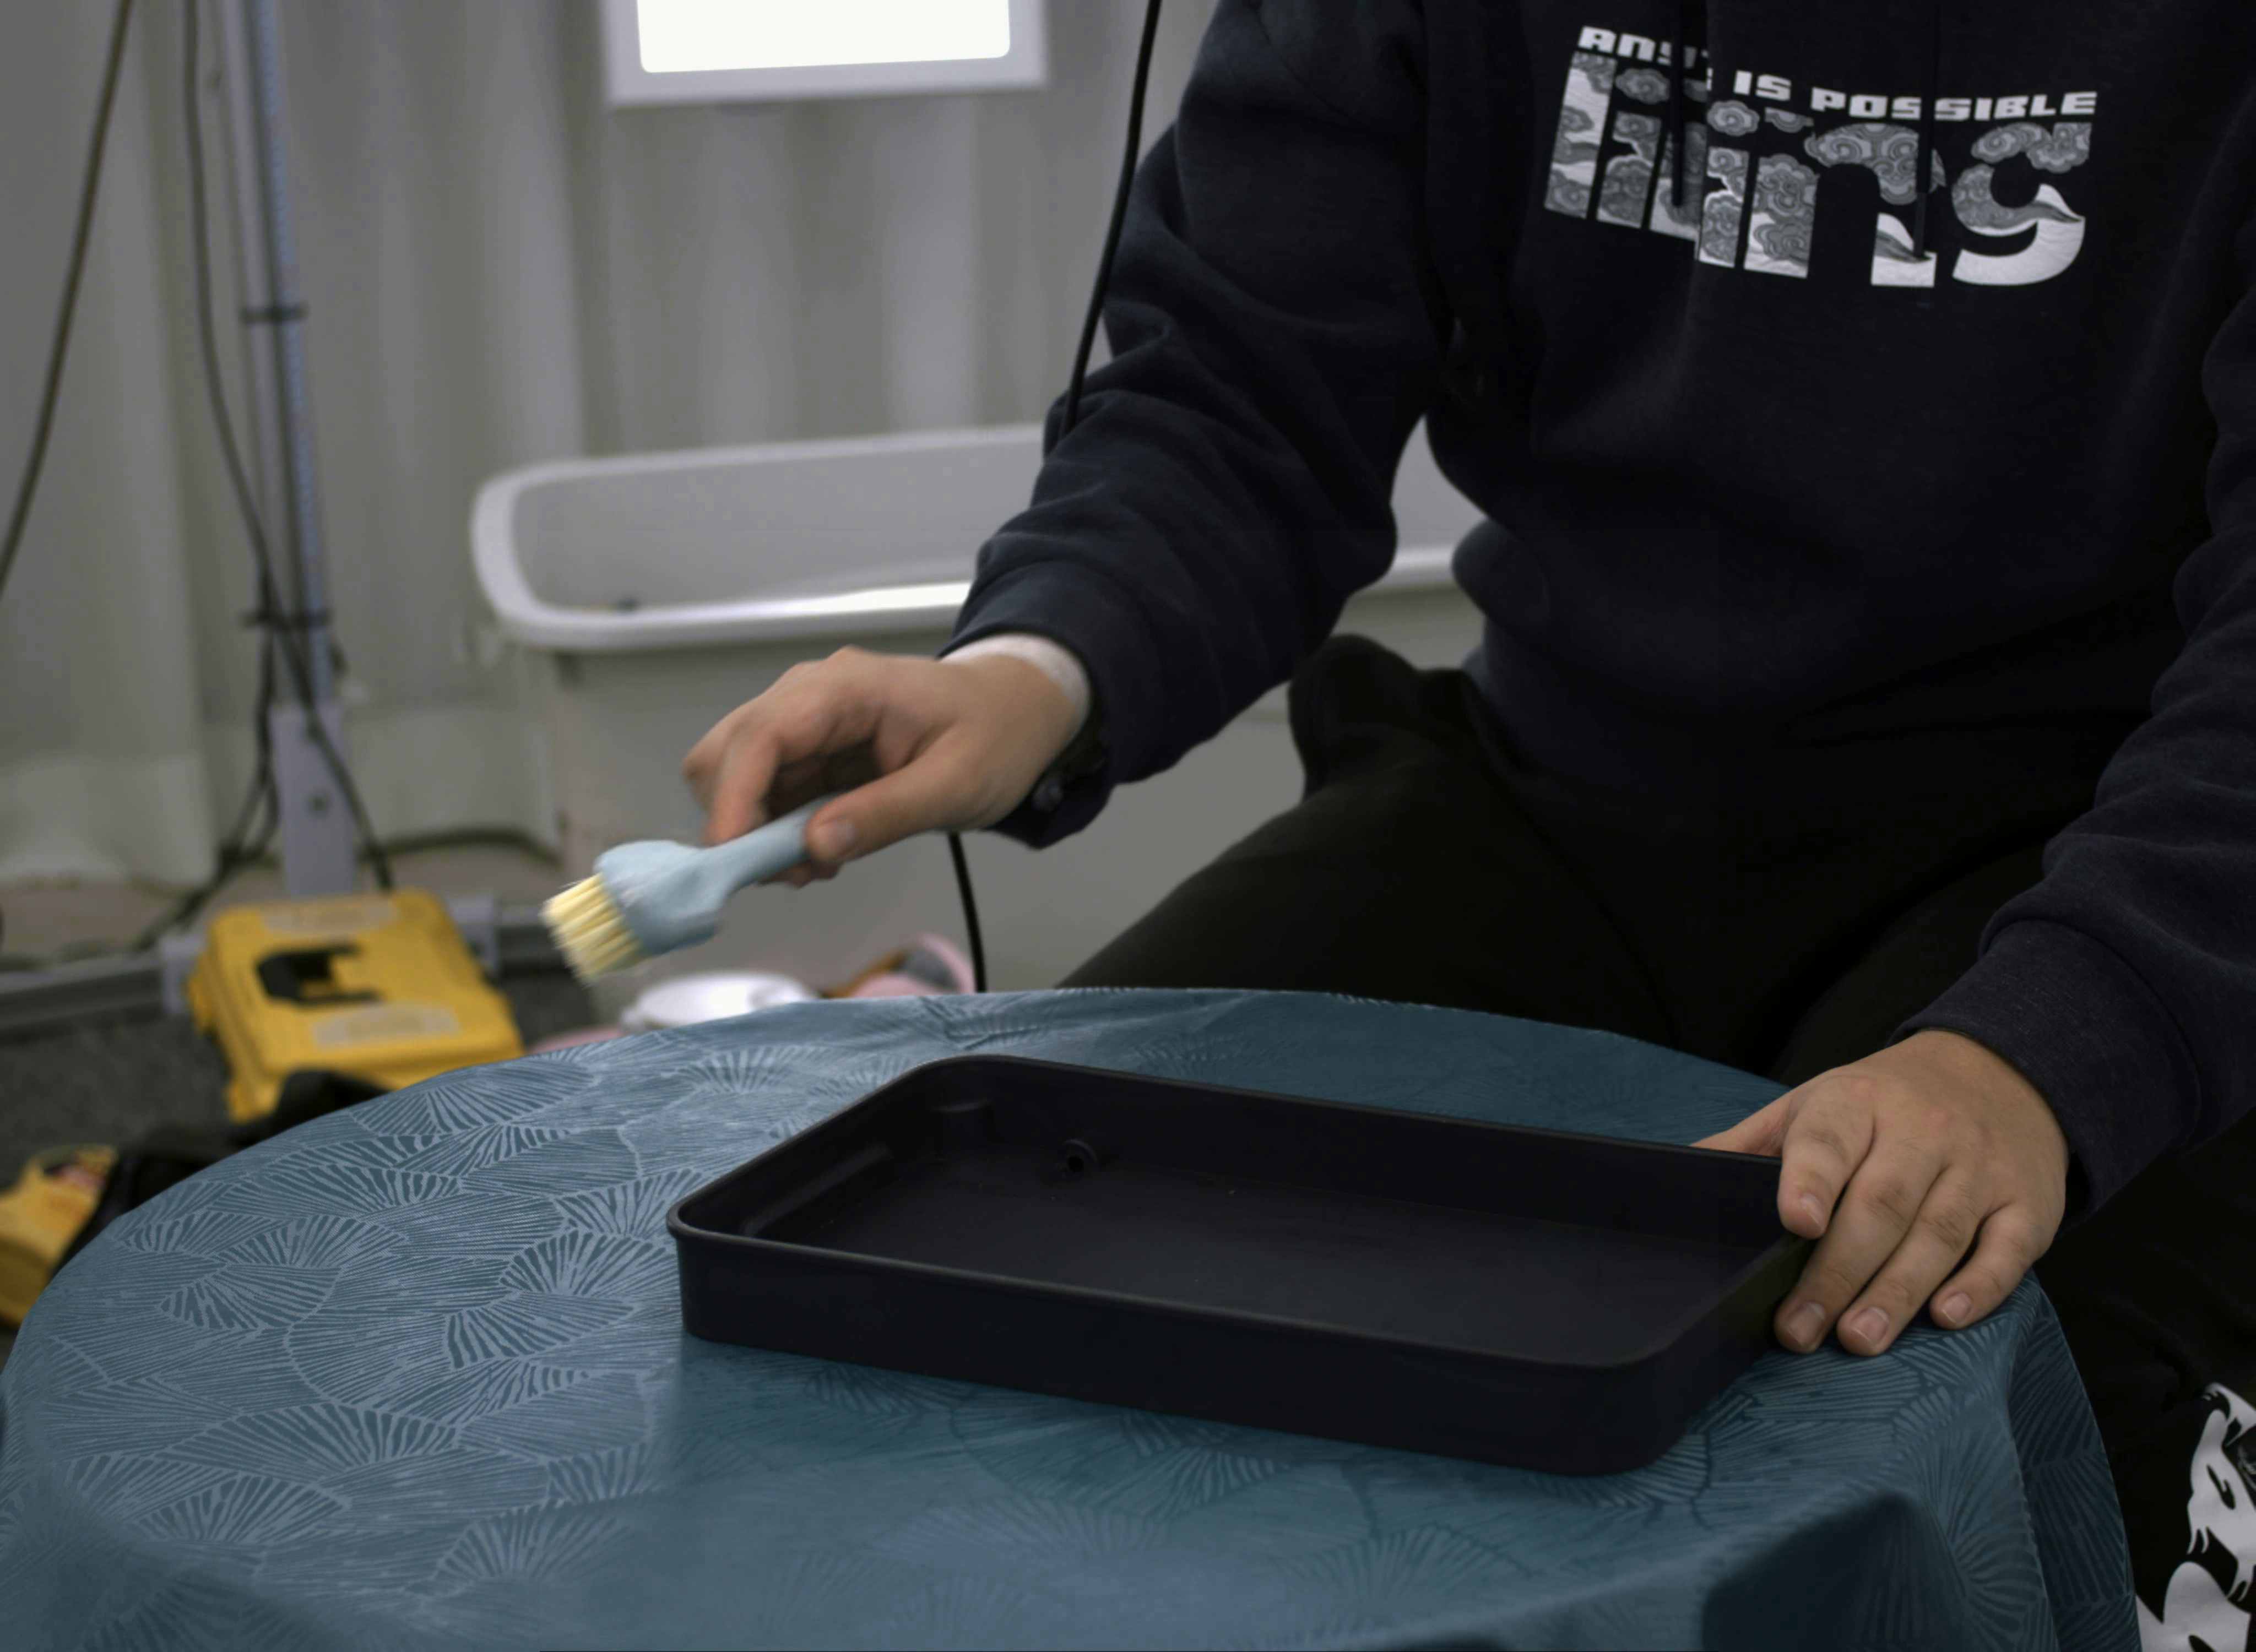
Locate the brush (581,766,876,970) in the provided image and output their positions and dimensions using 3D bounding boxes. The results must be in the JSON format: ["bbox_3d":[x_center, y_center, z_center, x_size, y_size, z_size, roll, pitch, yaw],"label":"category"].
[{"bbox_3d":[-0.125,0.011,1.749,0.049,0.038,0.229,-39,-1,17],"label":"brush"}]

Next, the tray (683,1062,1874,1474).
[{"bbox_3d":[0.044,0.125,1.602,0.318,0.037,0.184,5,16,27],"label":"tray"}]
